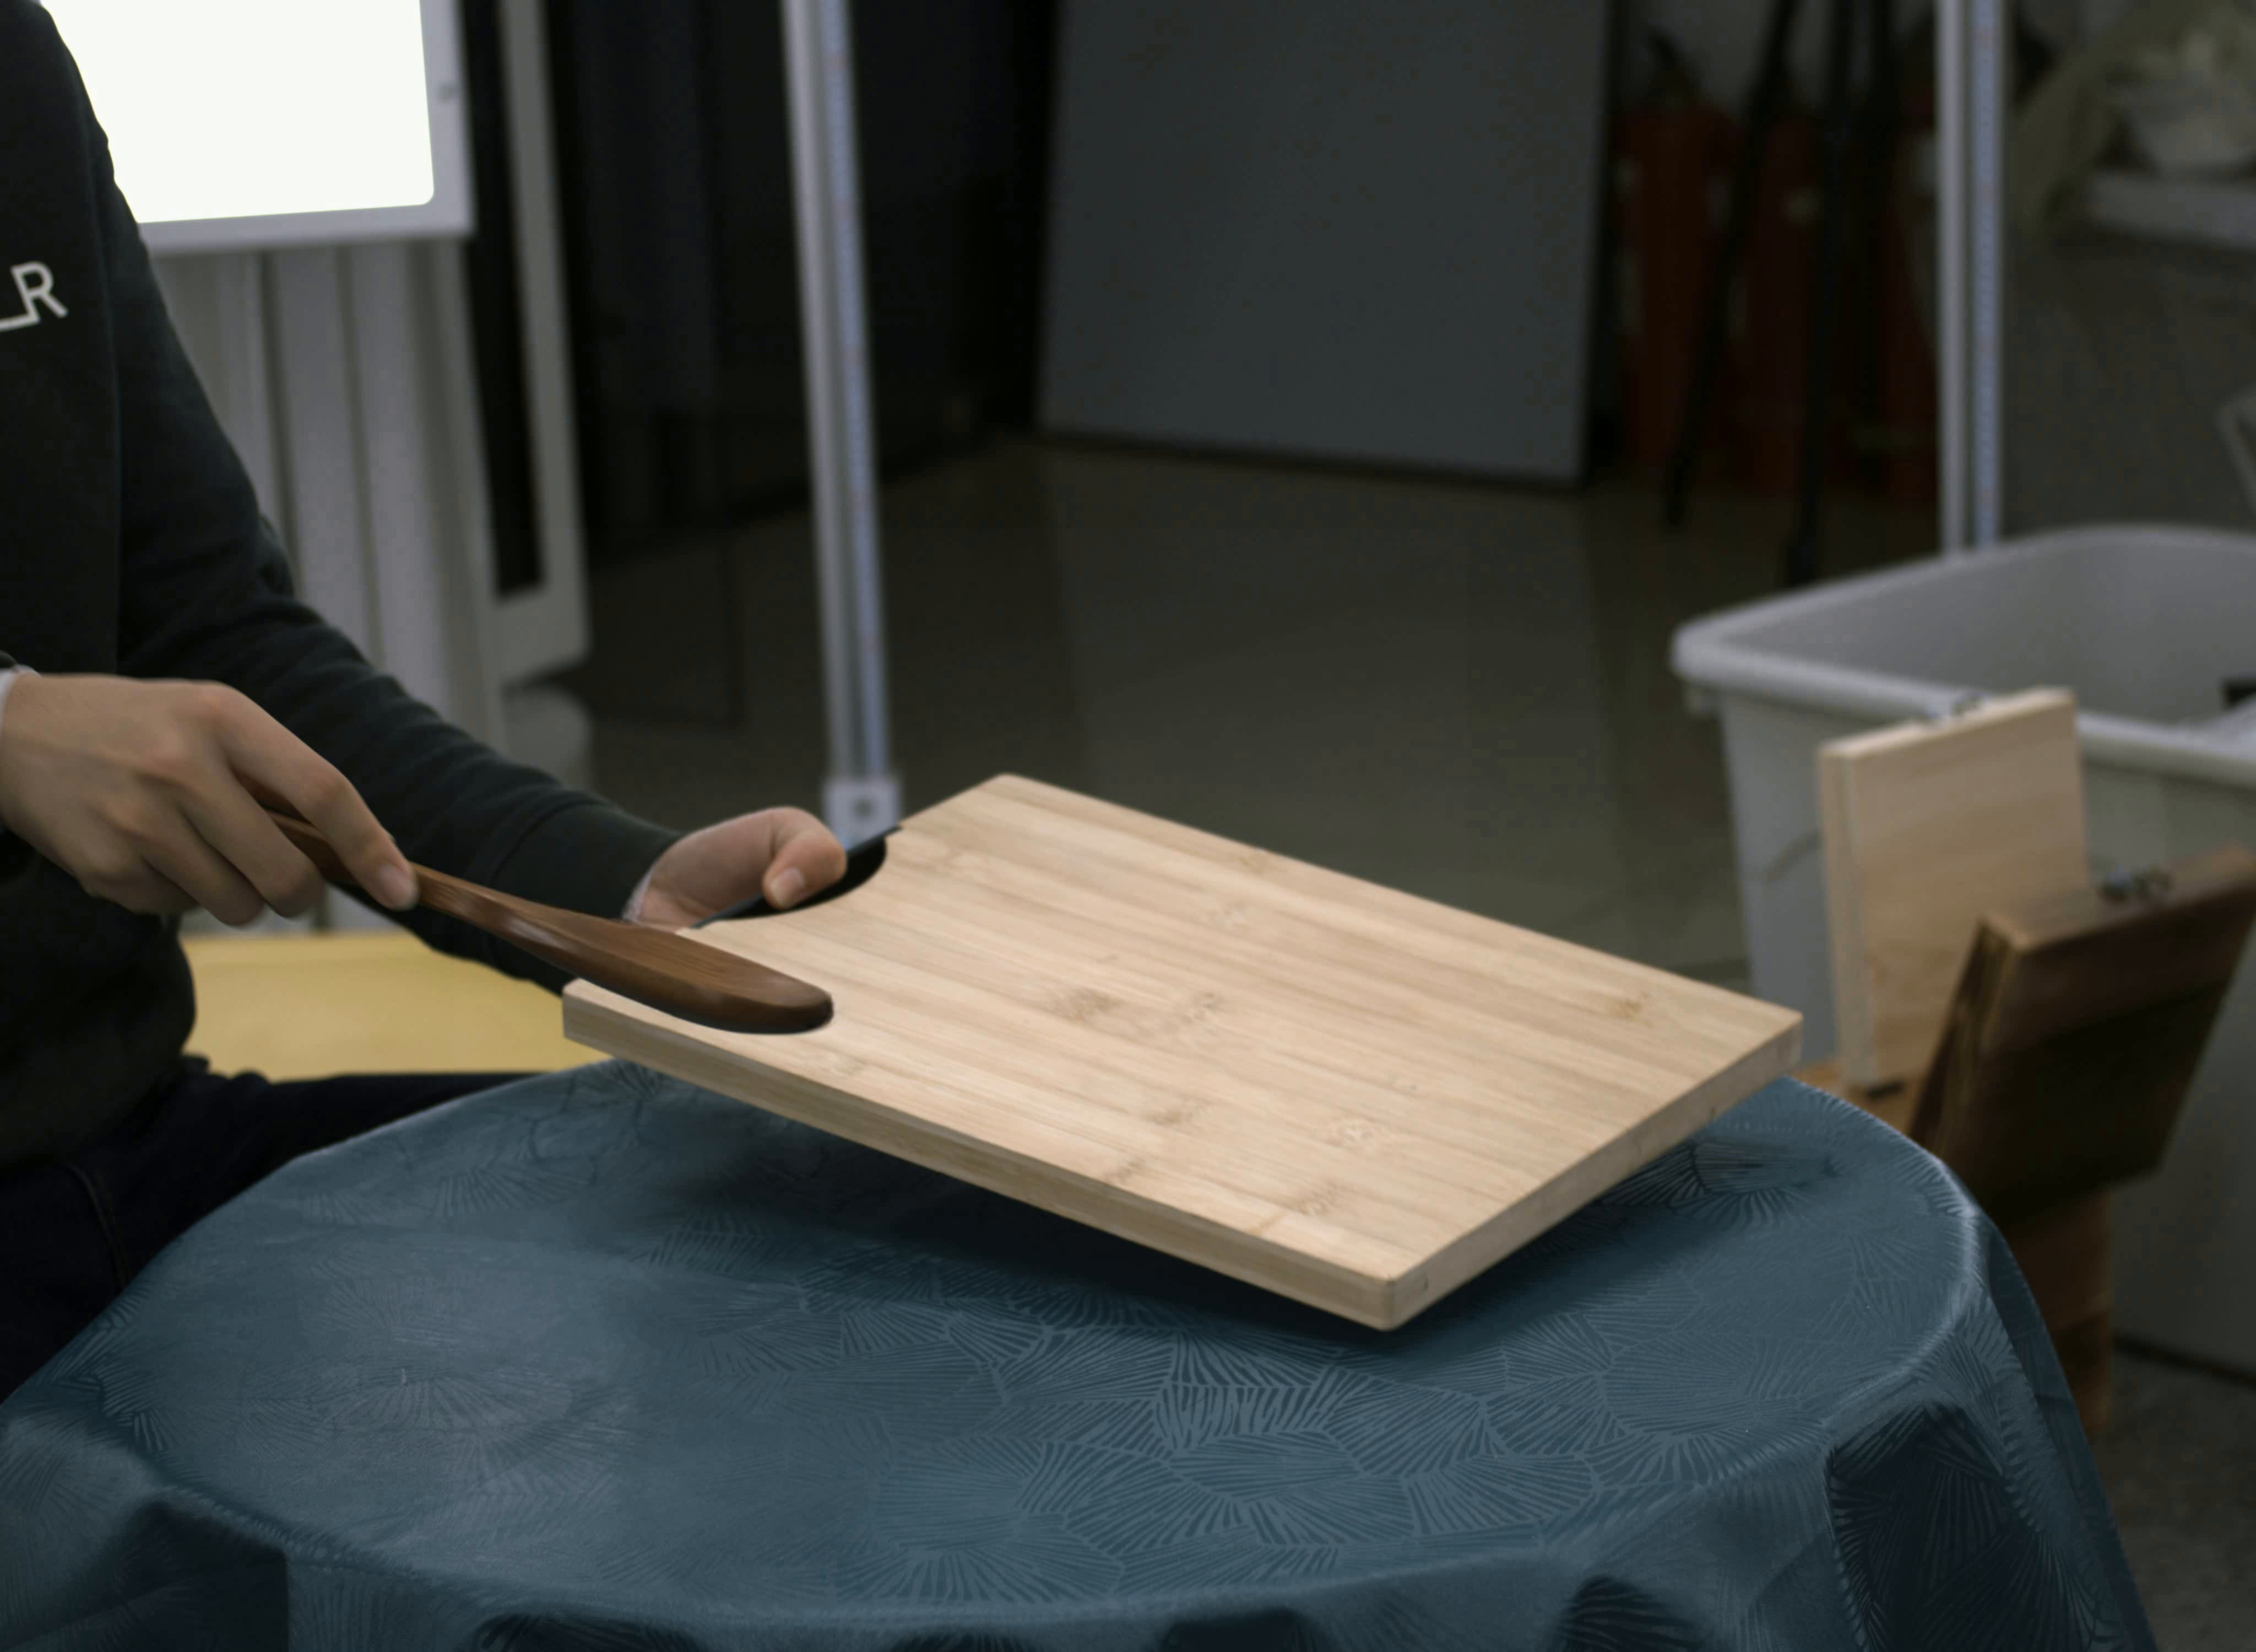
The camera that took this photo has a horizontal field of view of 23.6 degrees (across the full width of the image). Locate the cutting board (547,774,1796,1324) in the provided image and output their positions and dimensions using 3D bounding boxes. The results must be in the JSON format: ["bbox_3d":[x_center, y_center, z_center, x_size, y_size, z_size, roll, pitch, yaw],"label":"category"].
[{"bbox_3d":[0.013,0.066,1.778,0.351,0.024,0.246,16,27,35],"label":"cutting board"}]

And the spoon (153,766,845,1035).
[{"bbox_3d":[-0.184,0.024,1.580,0.214,0.017,0.075,19,10,7],"label":"spoon"}]
